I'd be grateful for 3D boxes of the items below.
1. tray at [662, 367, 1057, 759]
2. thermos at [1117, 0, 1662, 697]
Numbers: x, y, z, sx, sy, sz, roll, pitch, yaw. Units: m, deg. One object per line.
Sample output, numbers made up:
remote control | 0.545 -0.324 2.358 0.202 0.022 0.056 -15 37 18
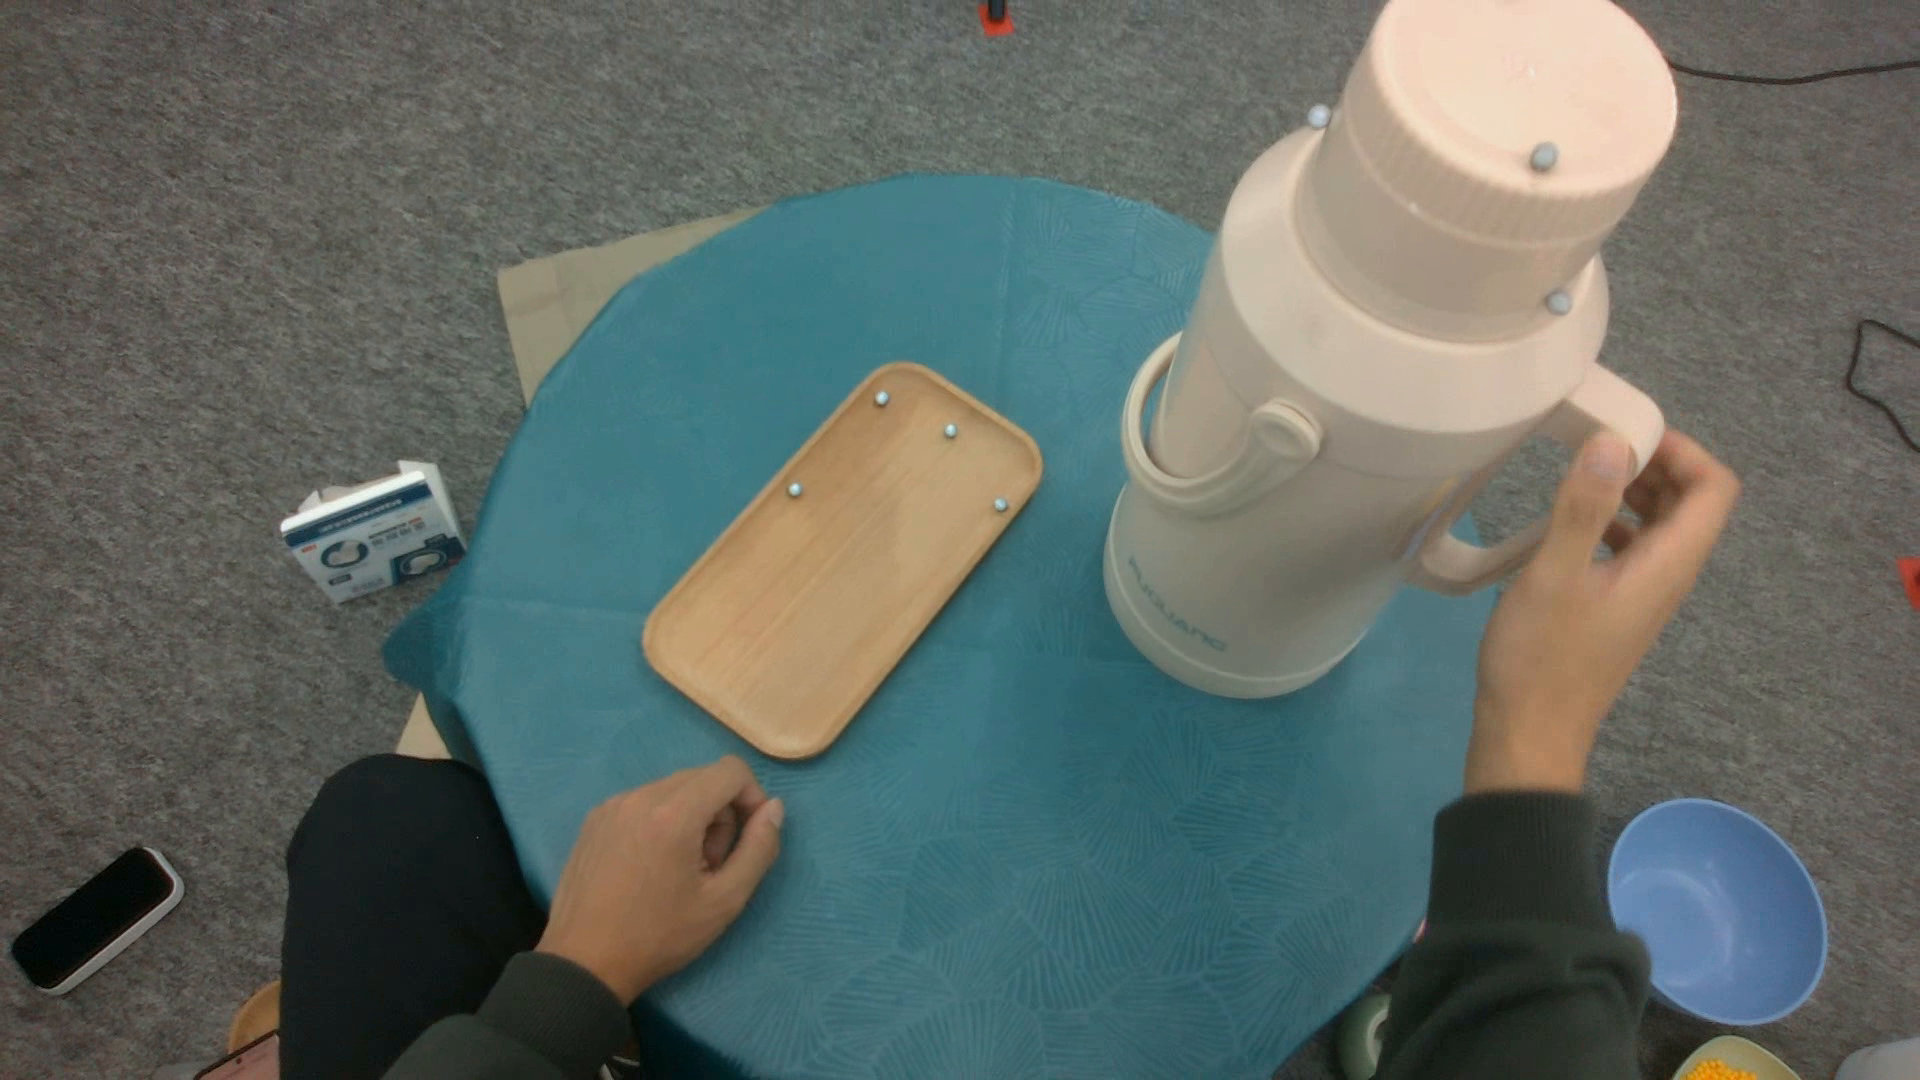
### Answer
tray | -0.055 0.007 0.813 0.130 0.023 0.251 34 67 15
thermos | 0.192 -0.057 0.648 0.207 0.404 0.176 35 66 14
